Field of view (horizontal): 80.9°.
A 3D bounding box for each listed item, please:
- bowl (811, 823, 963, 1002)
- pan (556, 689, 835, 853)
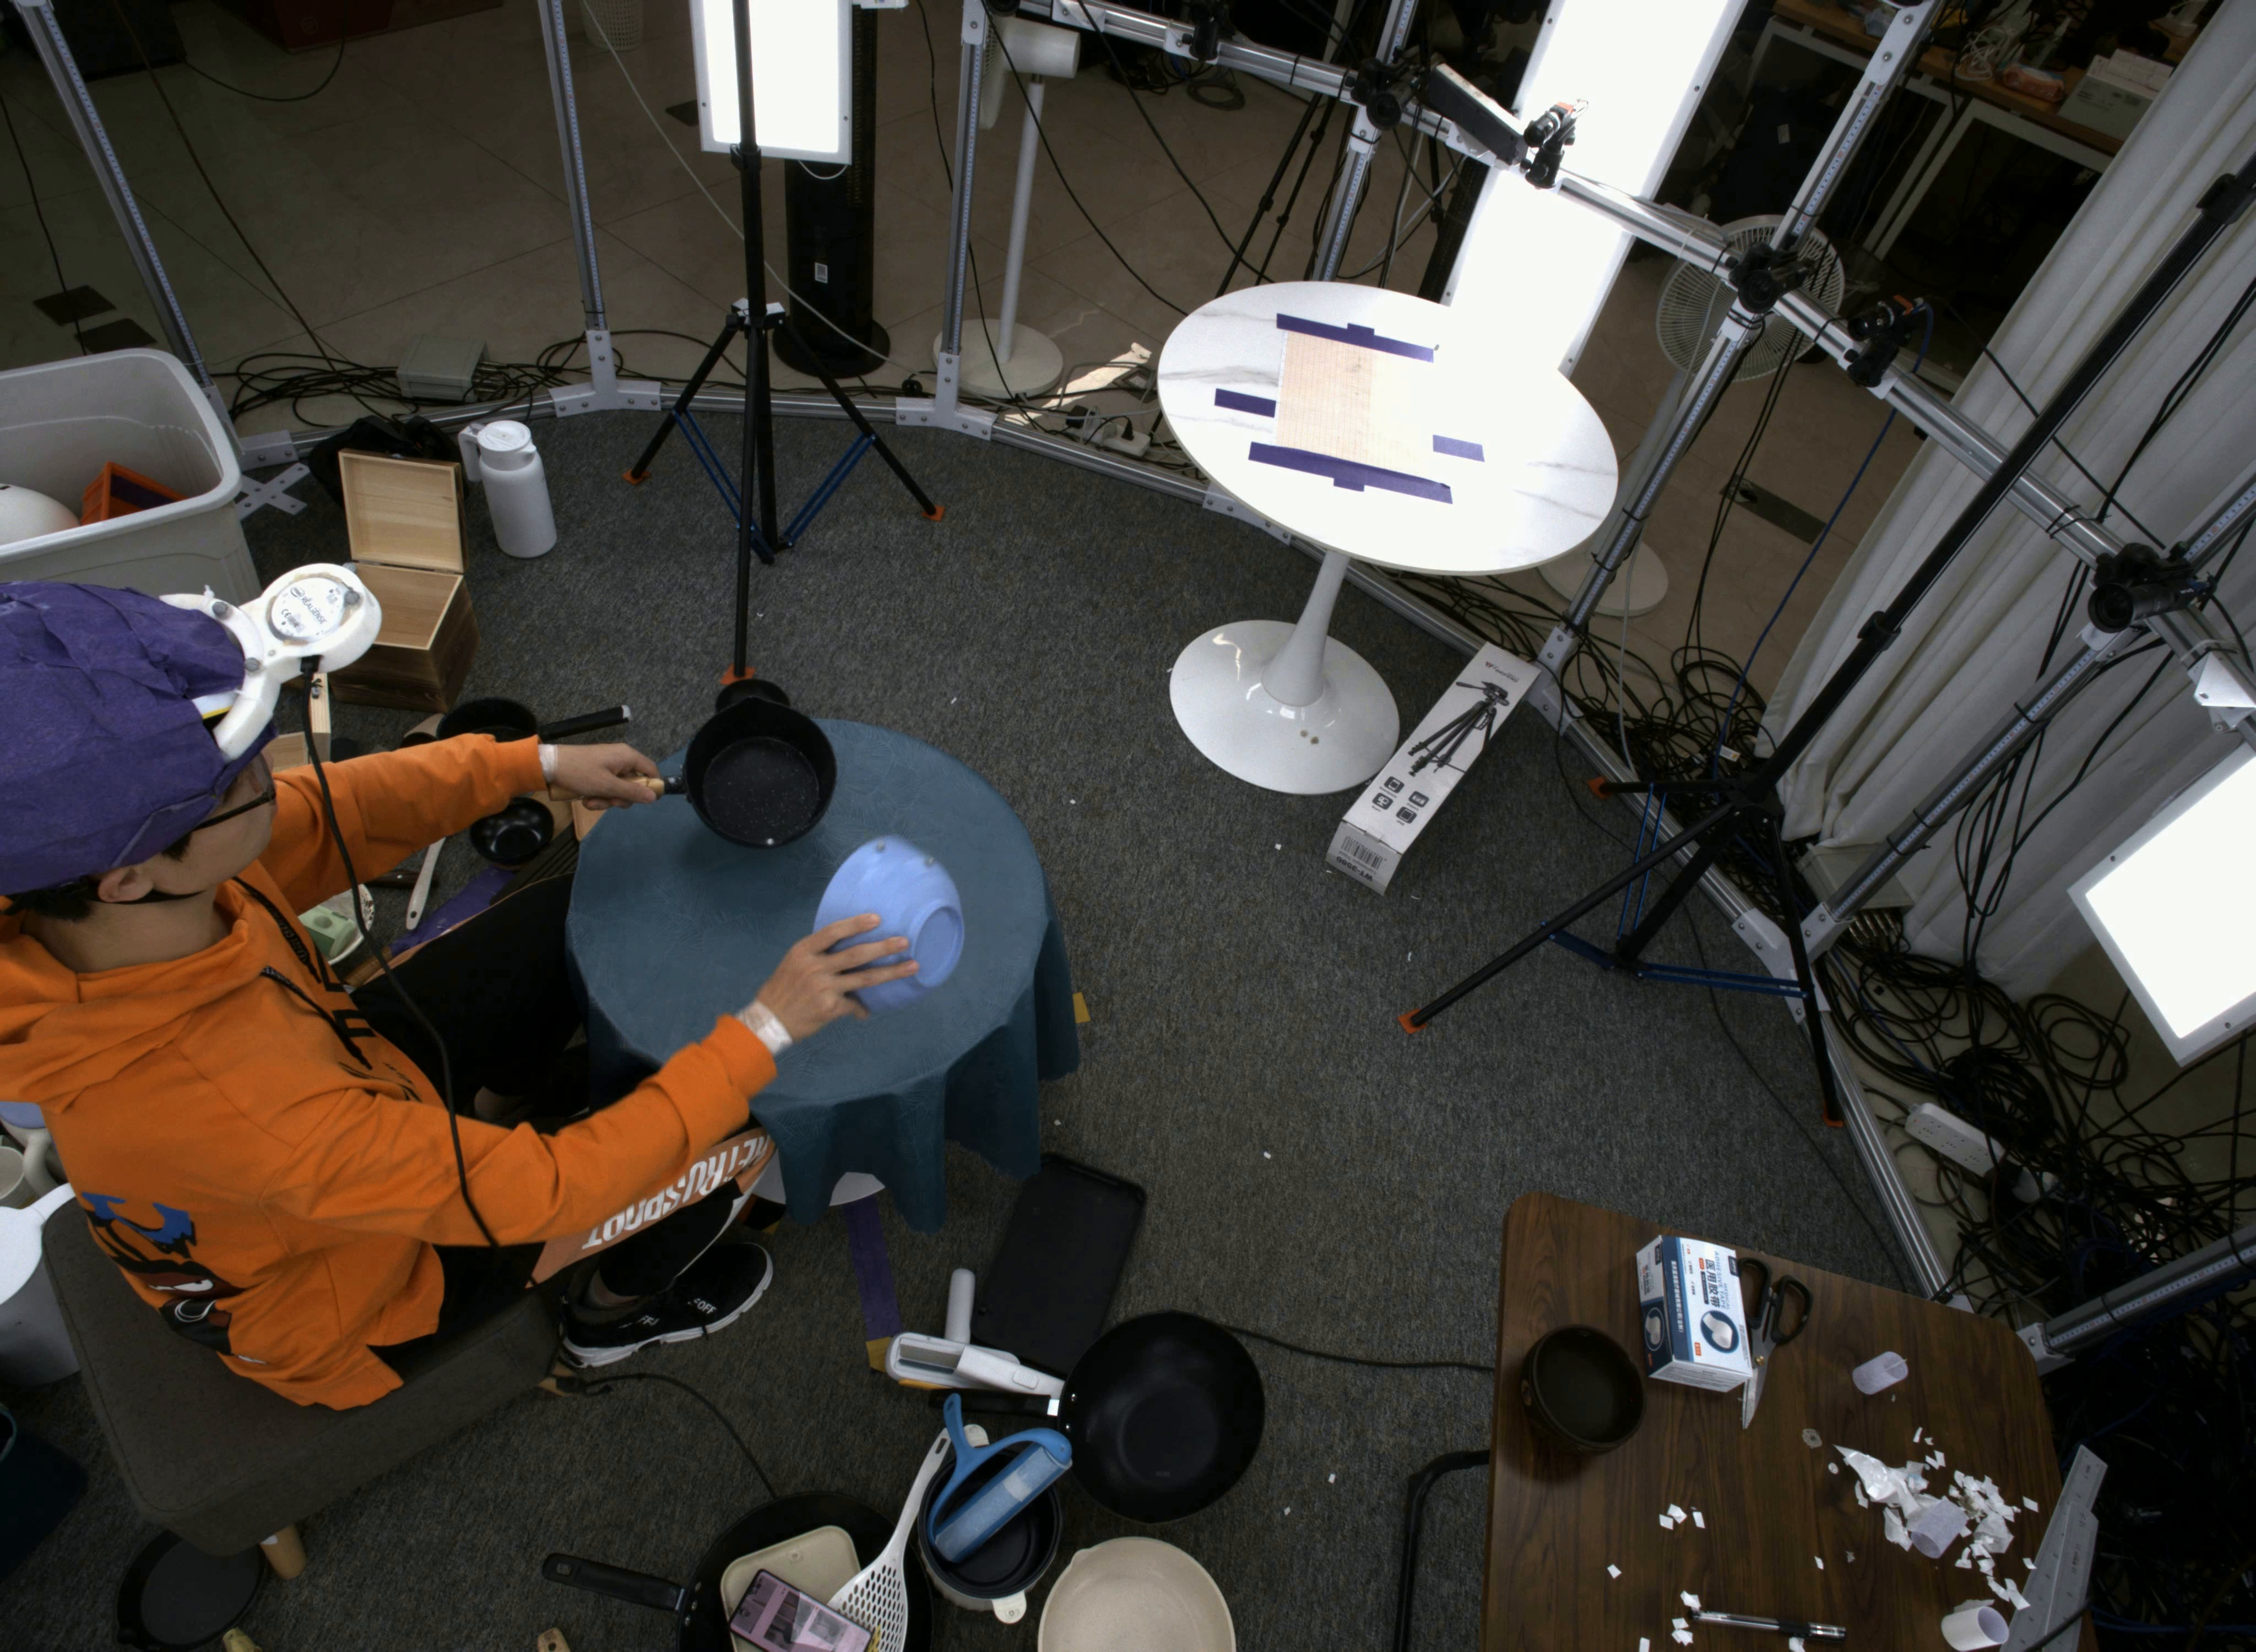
[{"bbox_3d":[-0.242,0.104,1.402,0.092,0.203,0.196,19,49,22],"label":"bowl"},{"bbox_3d":[-0.533,-0.050,1.579,0.344,0.108,0.207,-9,78,-21],"label":"pan"}]
